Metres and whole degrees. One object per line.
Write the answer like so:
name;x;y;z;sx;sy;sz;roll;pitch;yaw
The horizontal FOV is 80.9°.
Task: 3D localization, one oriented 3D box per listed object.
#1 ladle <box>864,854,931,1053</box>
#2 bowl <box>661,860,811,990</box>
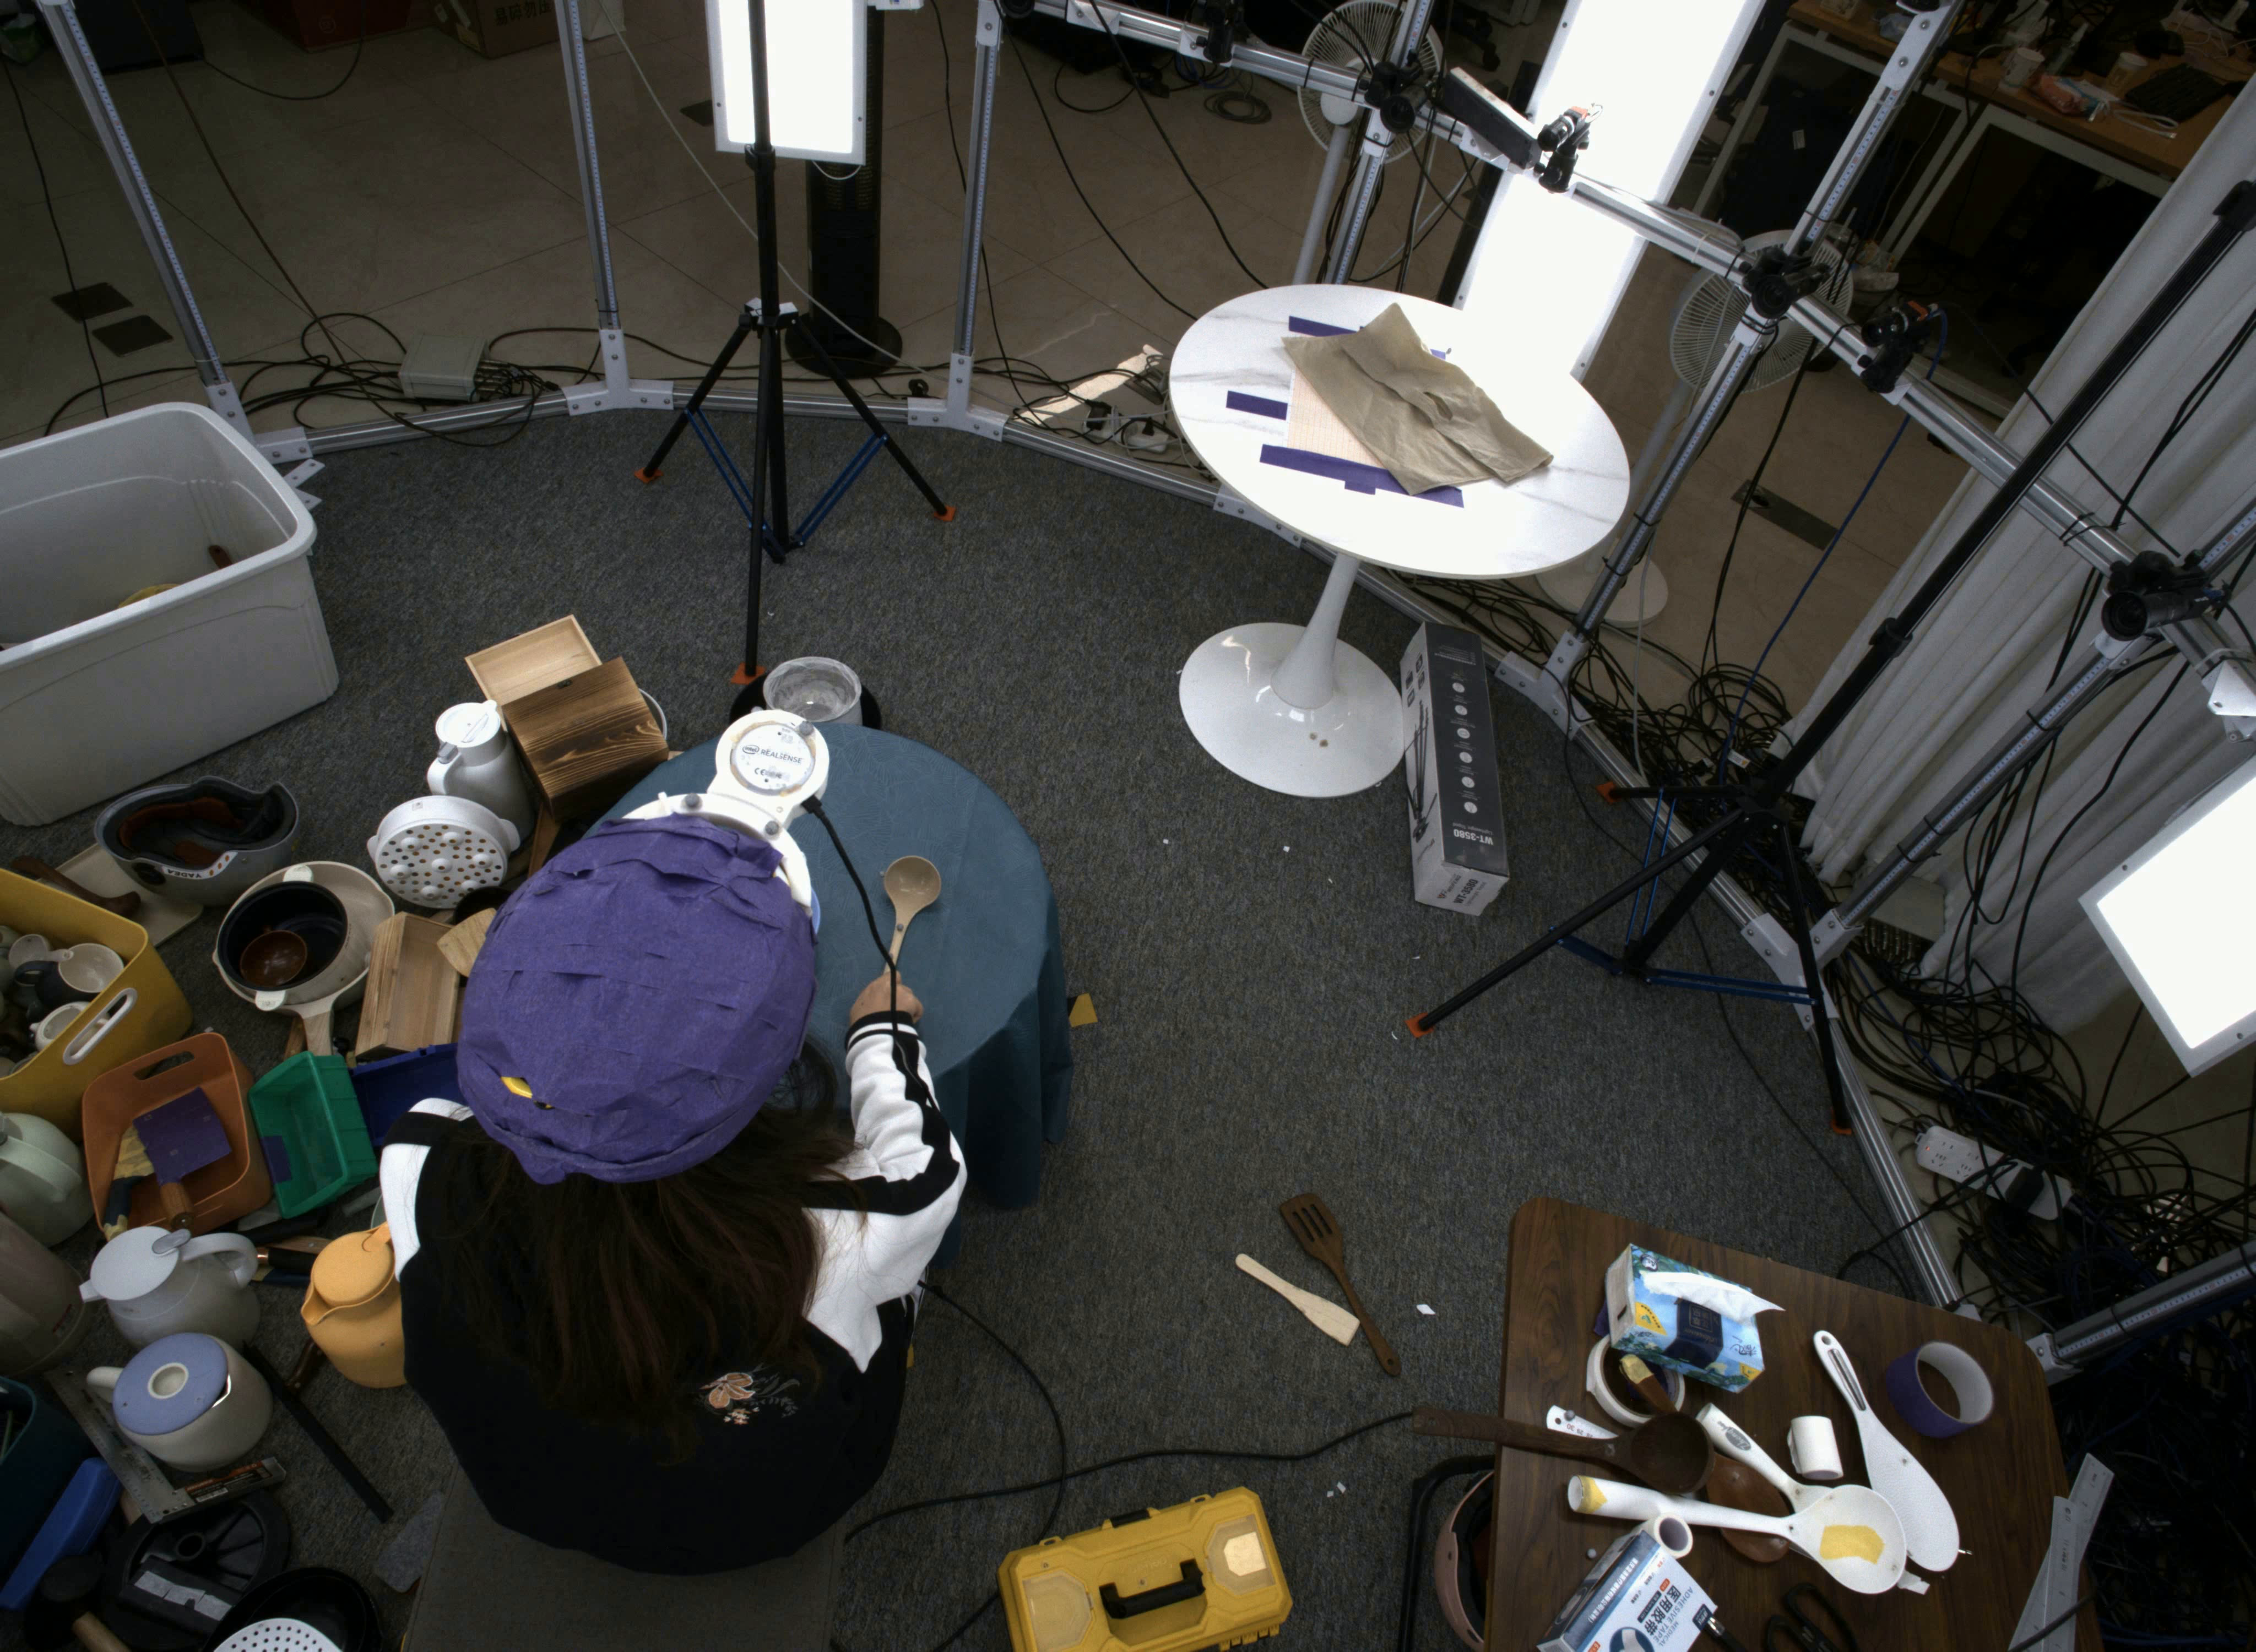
ladle;-0.293;0.146;1.597;0.072;0.074;0.250;12;52;-10
bowl;-0.471;0.129;1.565;0.175;0.072;0.173;7;52;-8
